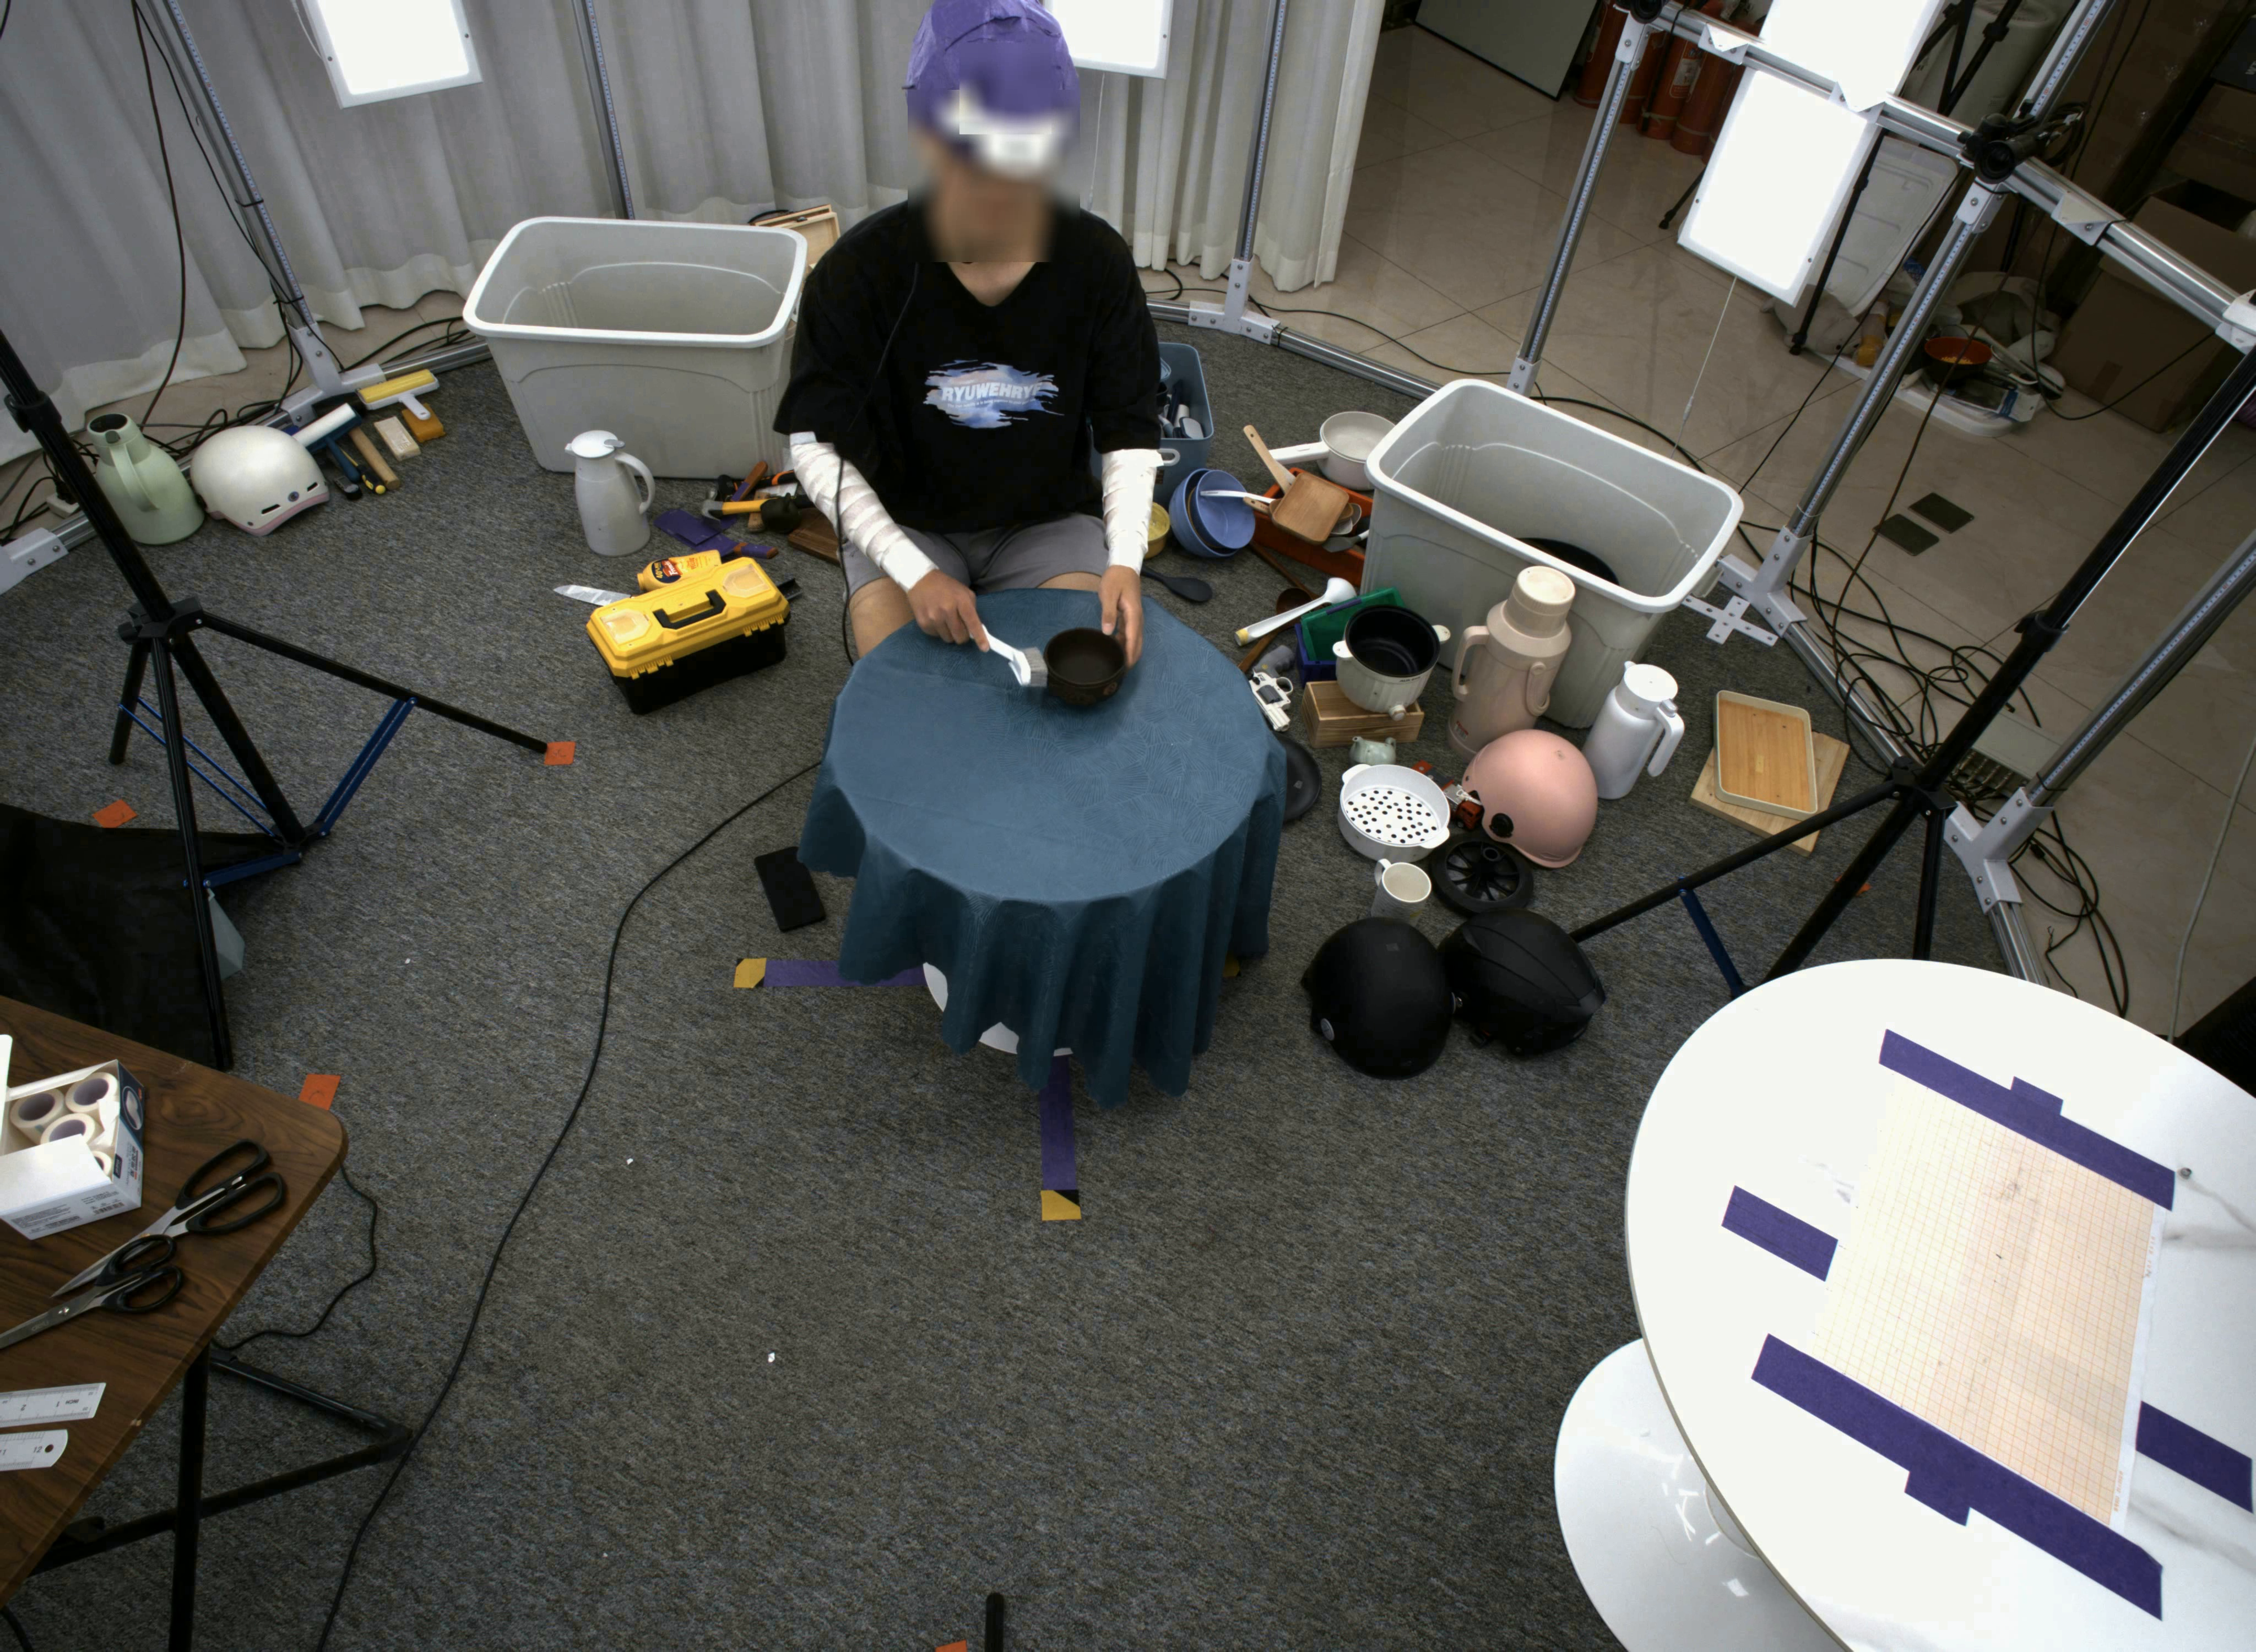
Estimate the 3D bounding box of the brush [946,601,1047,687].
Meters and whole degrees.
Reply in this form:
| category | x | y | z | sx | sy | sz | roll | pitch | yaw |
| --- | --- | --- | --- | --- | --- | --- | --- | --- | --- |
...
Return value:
| category | x | y | z | sx | sy | sz | roll | pitch | yaw |
| --- | --- | --- | --- | --- | --- | --- | --- | --- | --- |
| brush | -0.187 | -0.267 | 1.846 | 0.050 | 0.033 | 0.248 | -17 | 41 | -30 |

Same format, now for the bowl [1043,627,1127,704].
| category | x | y | z | sx | sy | sz | roll | pitch | yaw |
| --- | --- | --- | --- | --- | --- | --- | --- | --- | --- |
| bowl | -0.061 | -0.218 | 1.810 | 0.118 | 0.068 | 0.121 | 1 | 48 | -1 |
